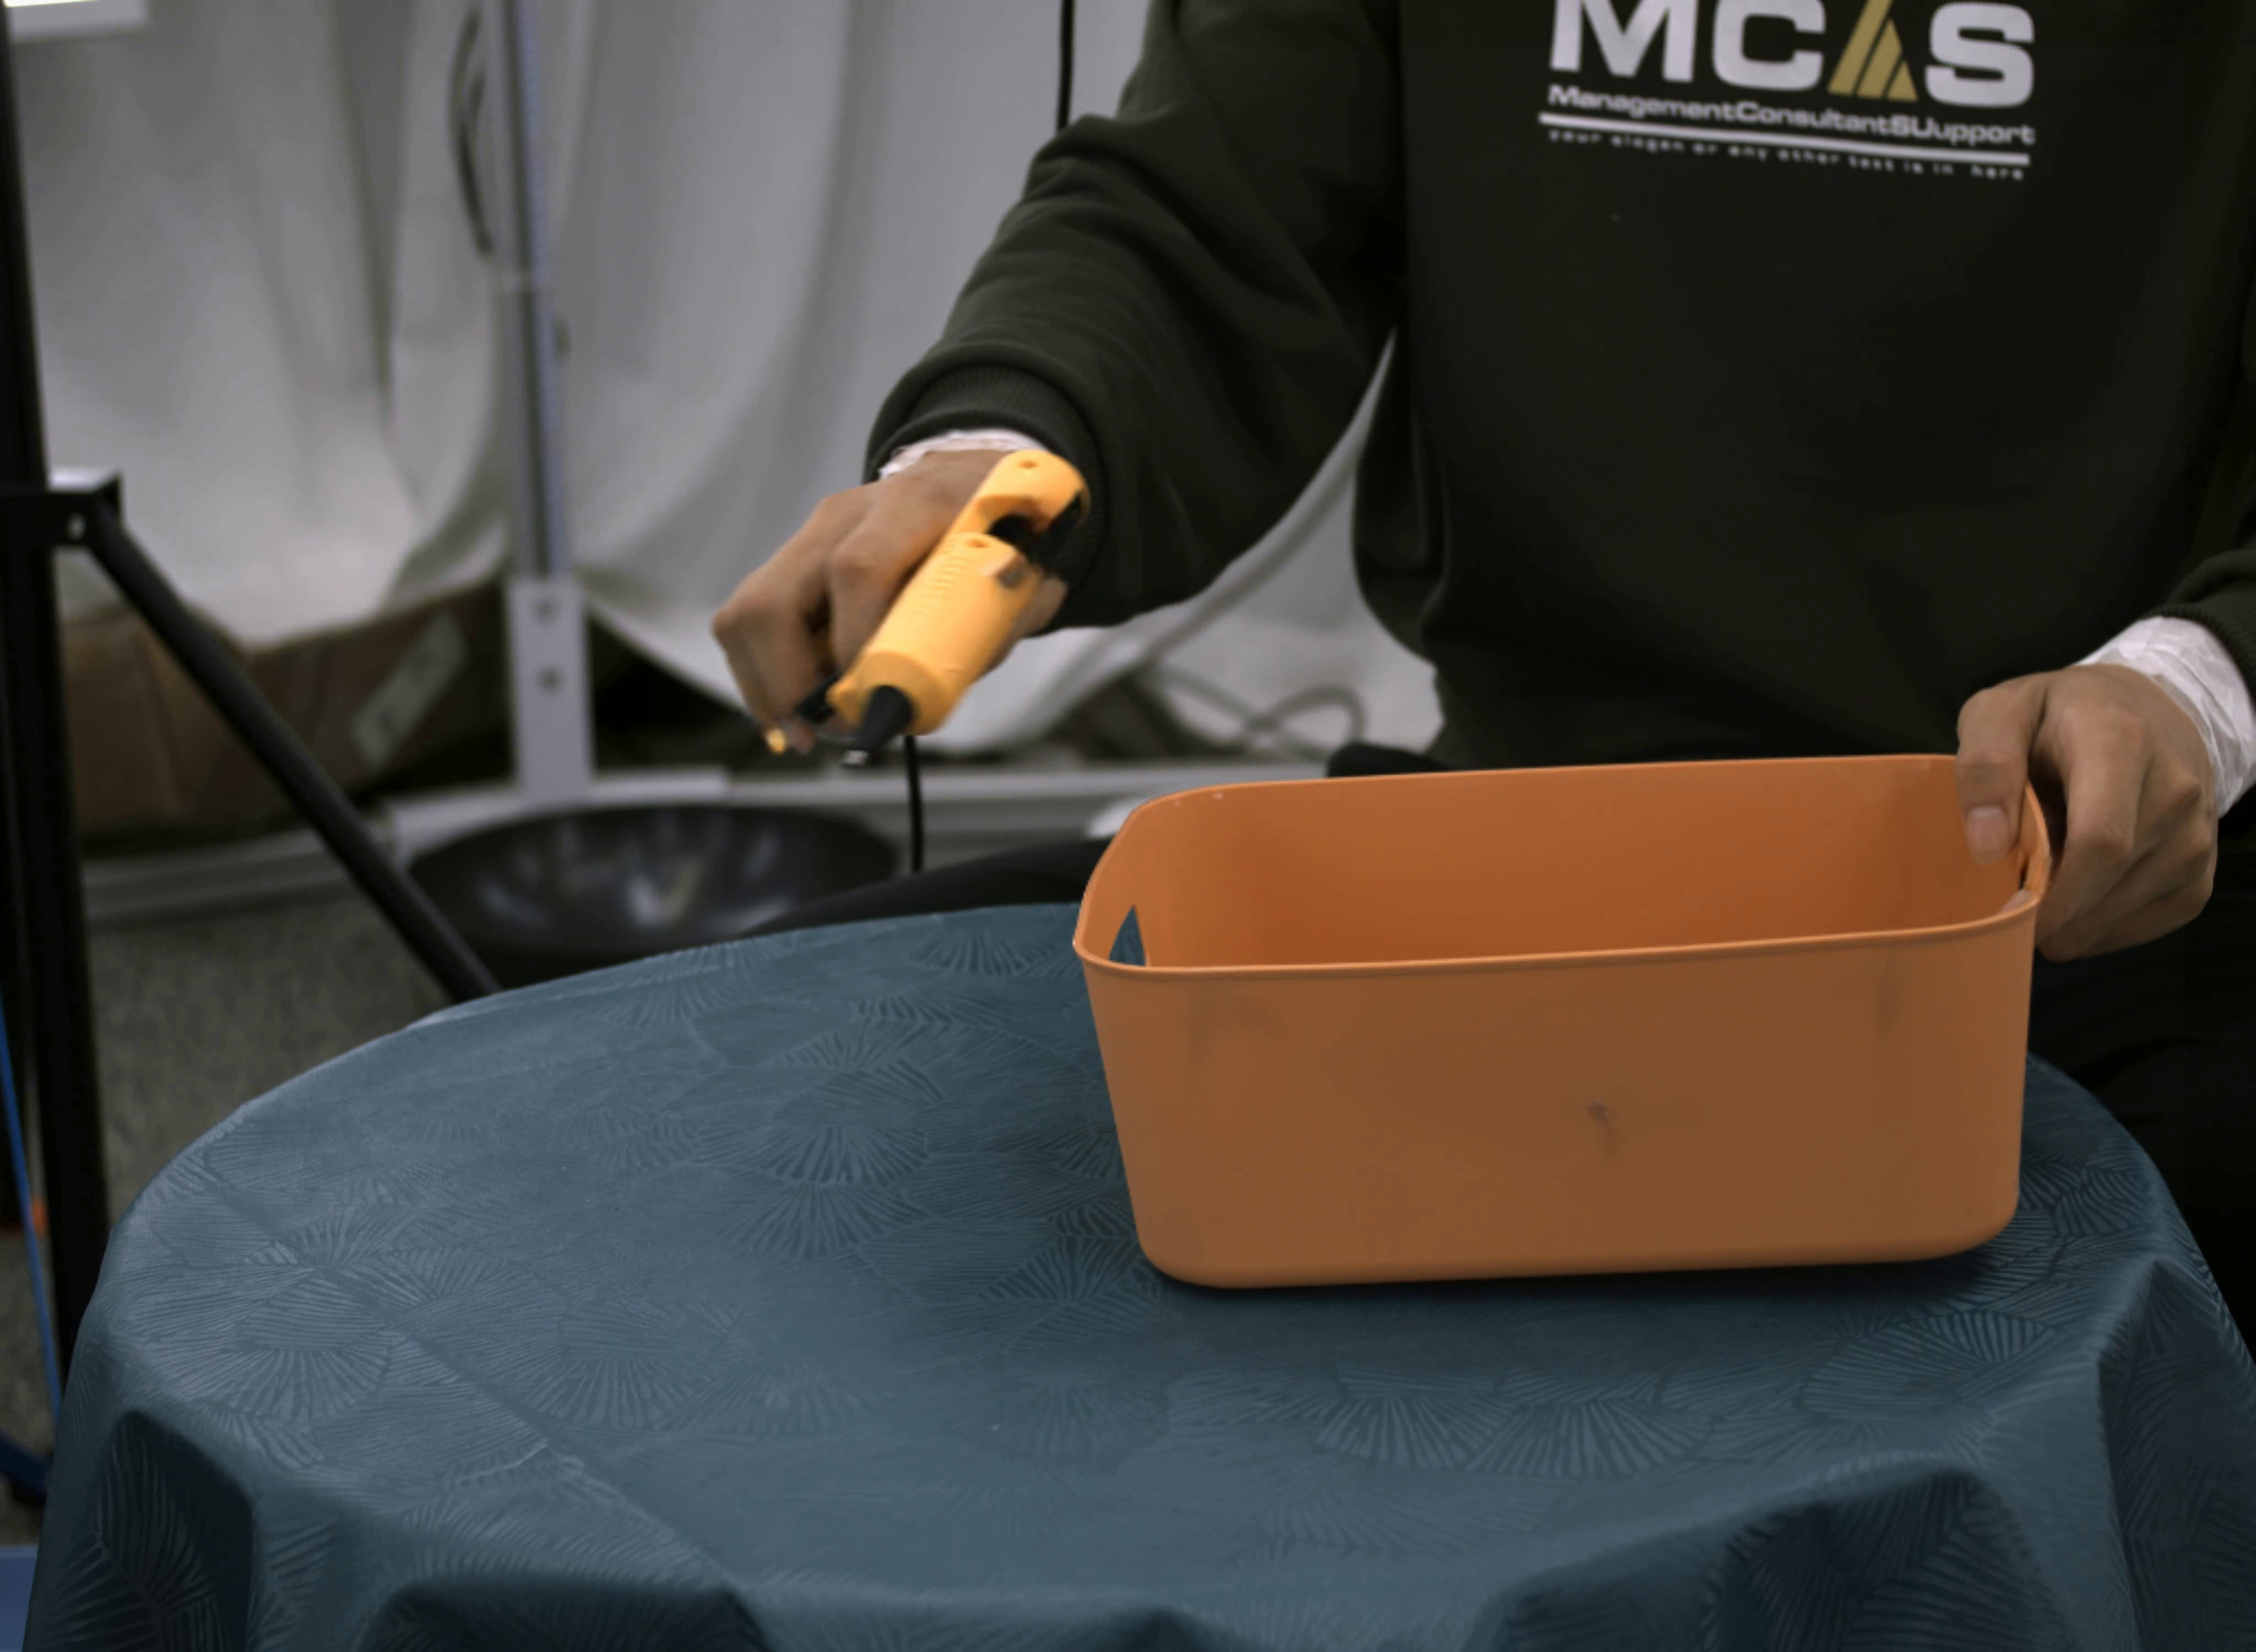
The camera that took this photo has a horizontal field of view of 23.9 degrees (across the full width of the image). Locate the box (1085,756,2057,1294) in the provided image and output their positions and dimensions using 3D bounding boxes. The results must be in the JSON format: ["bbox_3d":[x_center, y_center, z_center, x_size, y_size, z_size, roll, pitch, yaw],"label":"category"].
[{"bbox_3d":[0.130,0.057,1.518,0.274,0.102,0.199,-3,14,9],"label":"box"}]

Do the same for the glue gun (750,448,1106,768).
[{"bbox_3d":[-0.076,-0.039,1.562,0.135,0.031,0.151,-34,16,34],"label":"glue gun"}]
